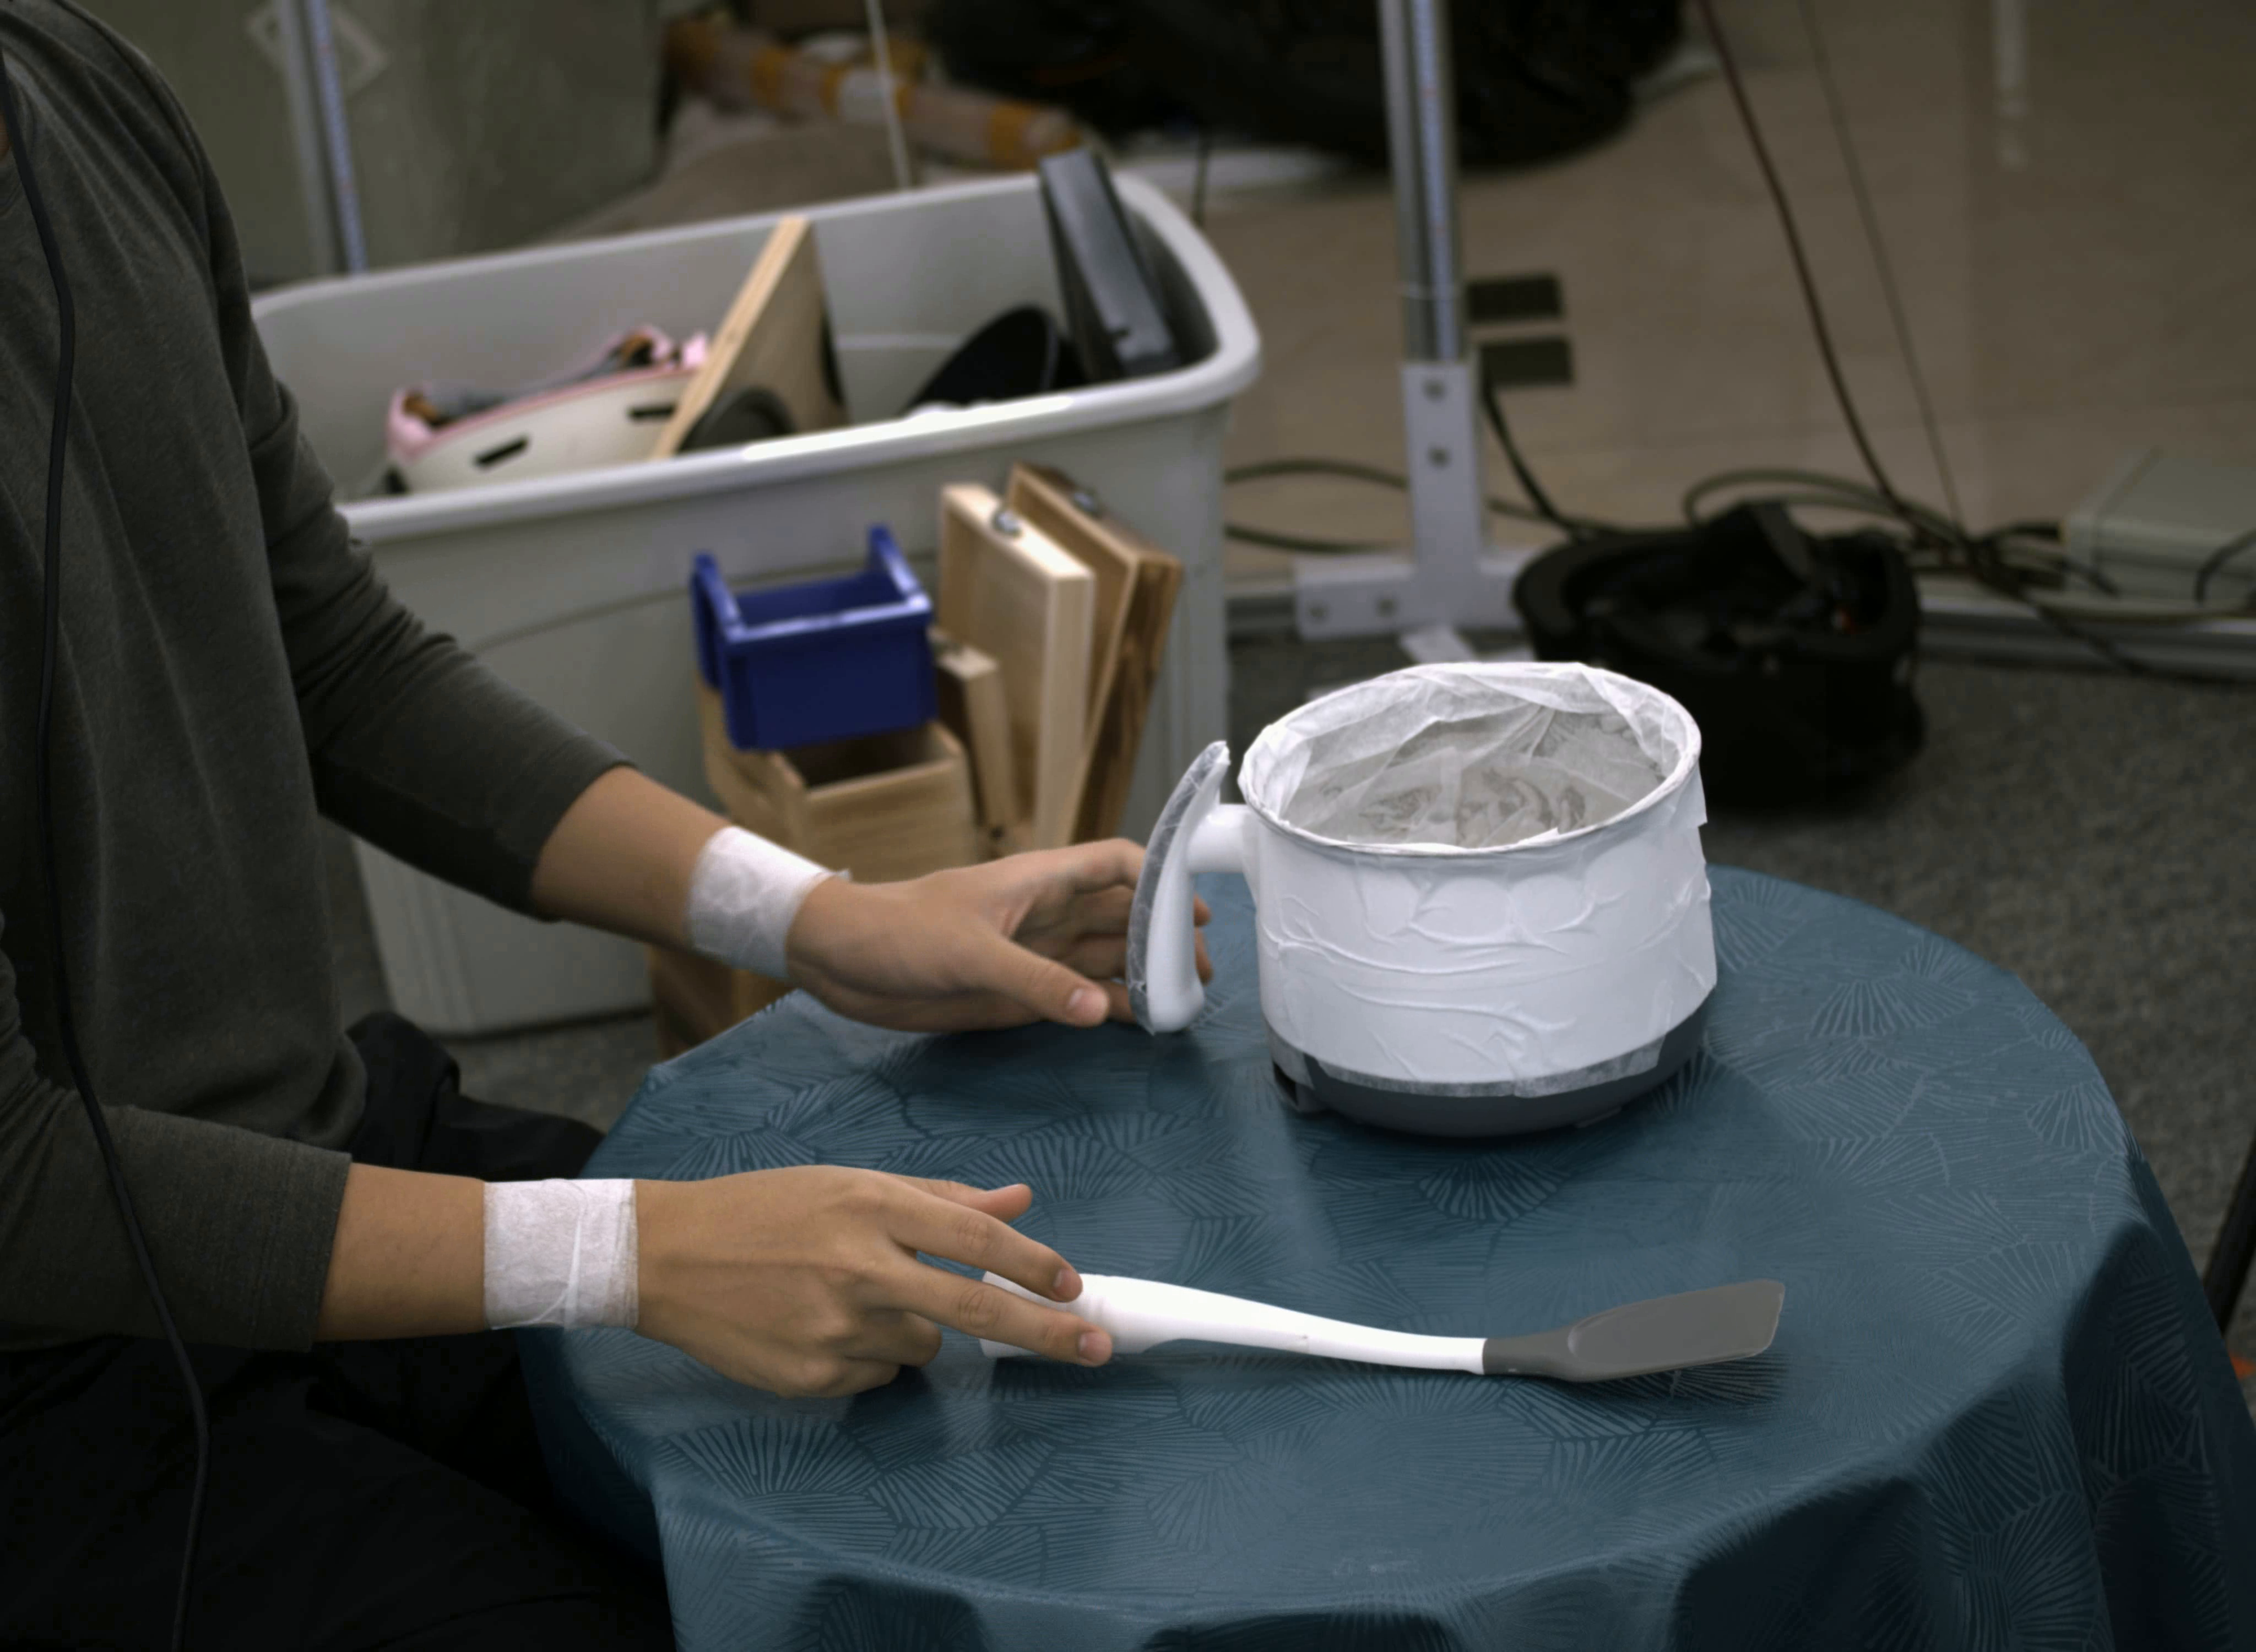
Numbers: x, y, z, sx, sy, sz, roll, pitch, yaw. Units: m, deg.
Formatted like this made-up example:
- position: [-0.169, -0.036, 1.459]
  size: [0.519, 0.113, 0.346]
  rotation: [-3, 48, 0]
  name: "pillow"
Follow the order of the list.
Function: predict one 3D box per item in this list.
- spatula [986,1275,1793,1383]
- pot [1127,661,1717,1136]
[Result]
- position: [0.091, 0.177, 2.006]
  size: [0.287, 0.032, 0.058]
  rotation: [0, 22, 15]
  name: "spatula"
- position: [0.110, 0.029, 2.194]
  size: [0.233, 0.139, 0.176]
  rotation: [0, 26, 14]
  name: "pot"
